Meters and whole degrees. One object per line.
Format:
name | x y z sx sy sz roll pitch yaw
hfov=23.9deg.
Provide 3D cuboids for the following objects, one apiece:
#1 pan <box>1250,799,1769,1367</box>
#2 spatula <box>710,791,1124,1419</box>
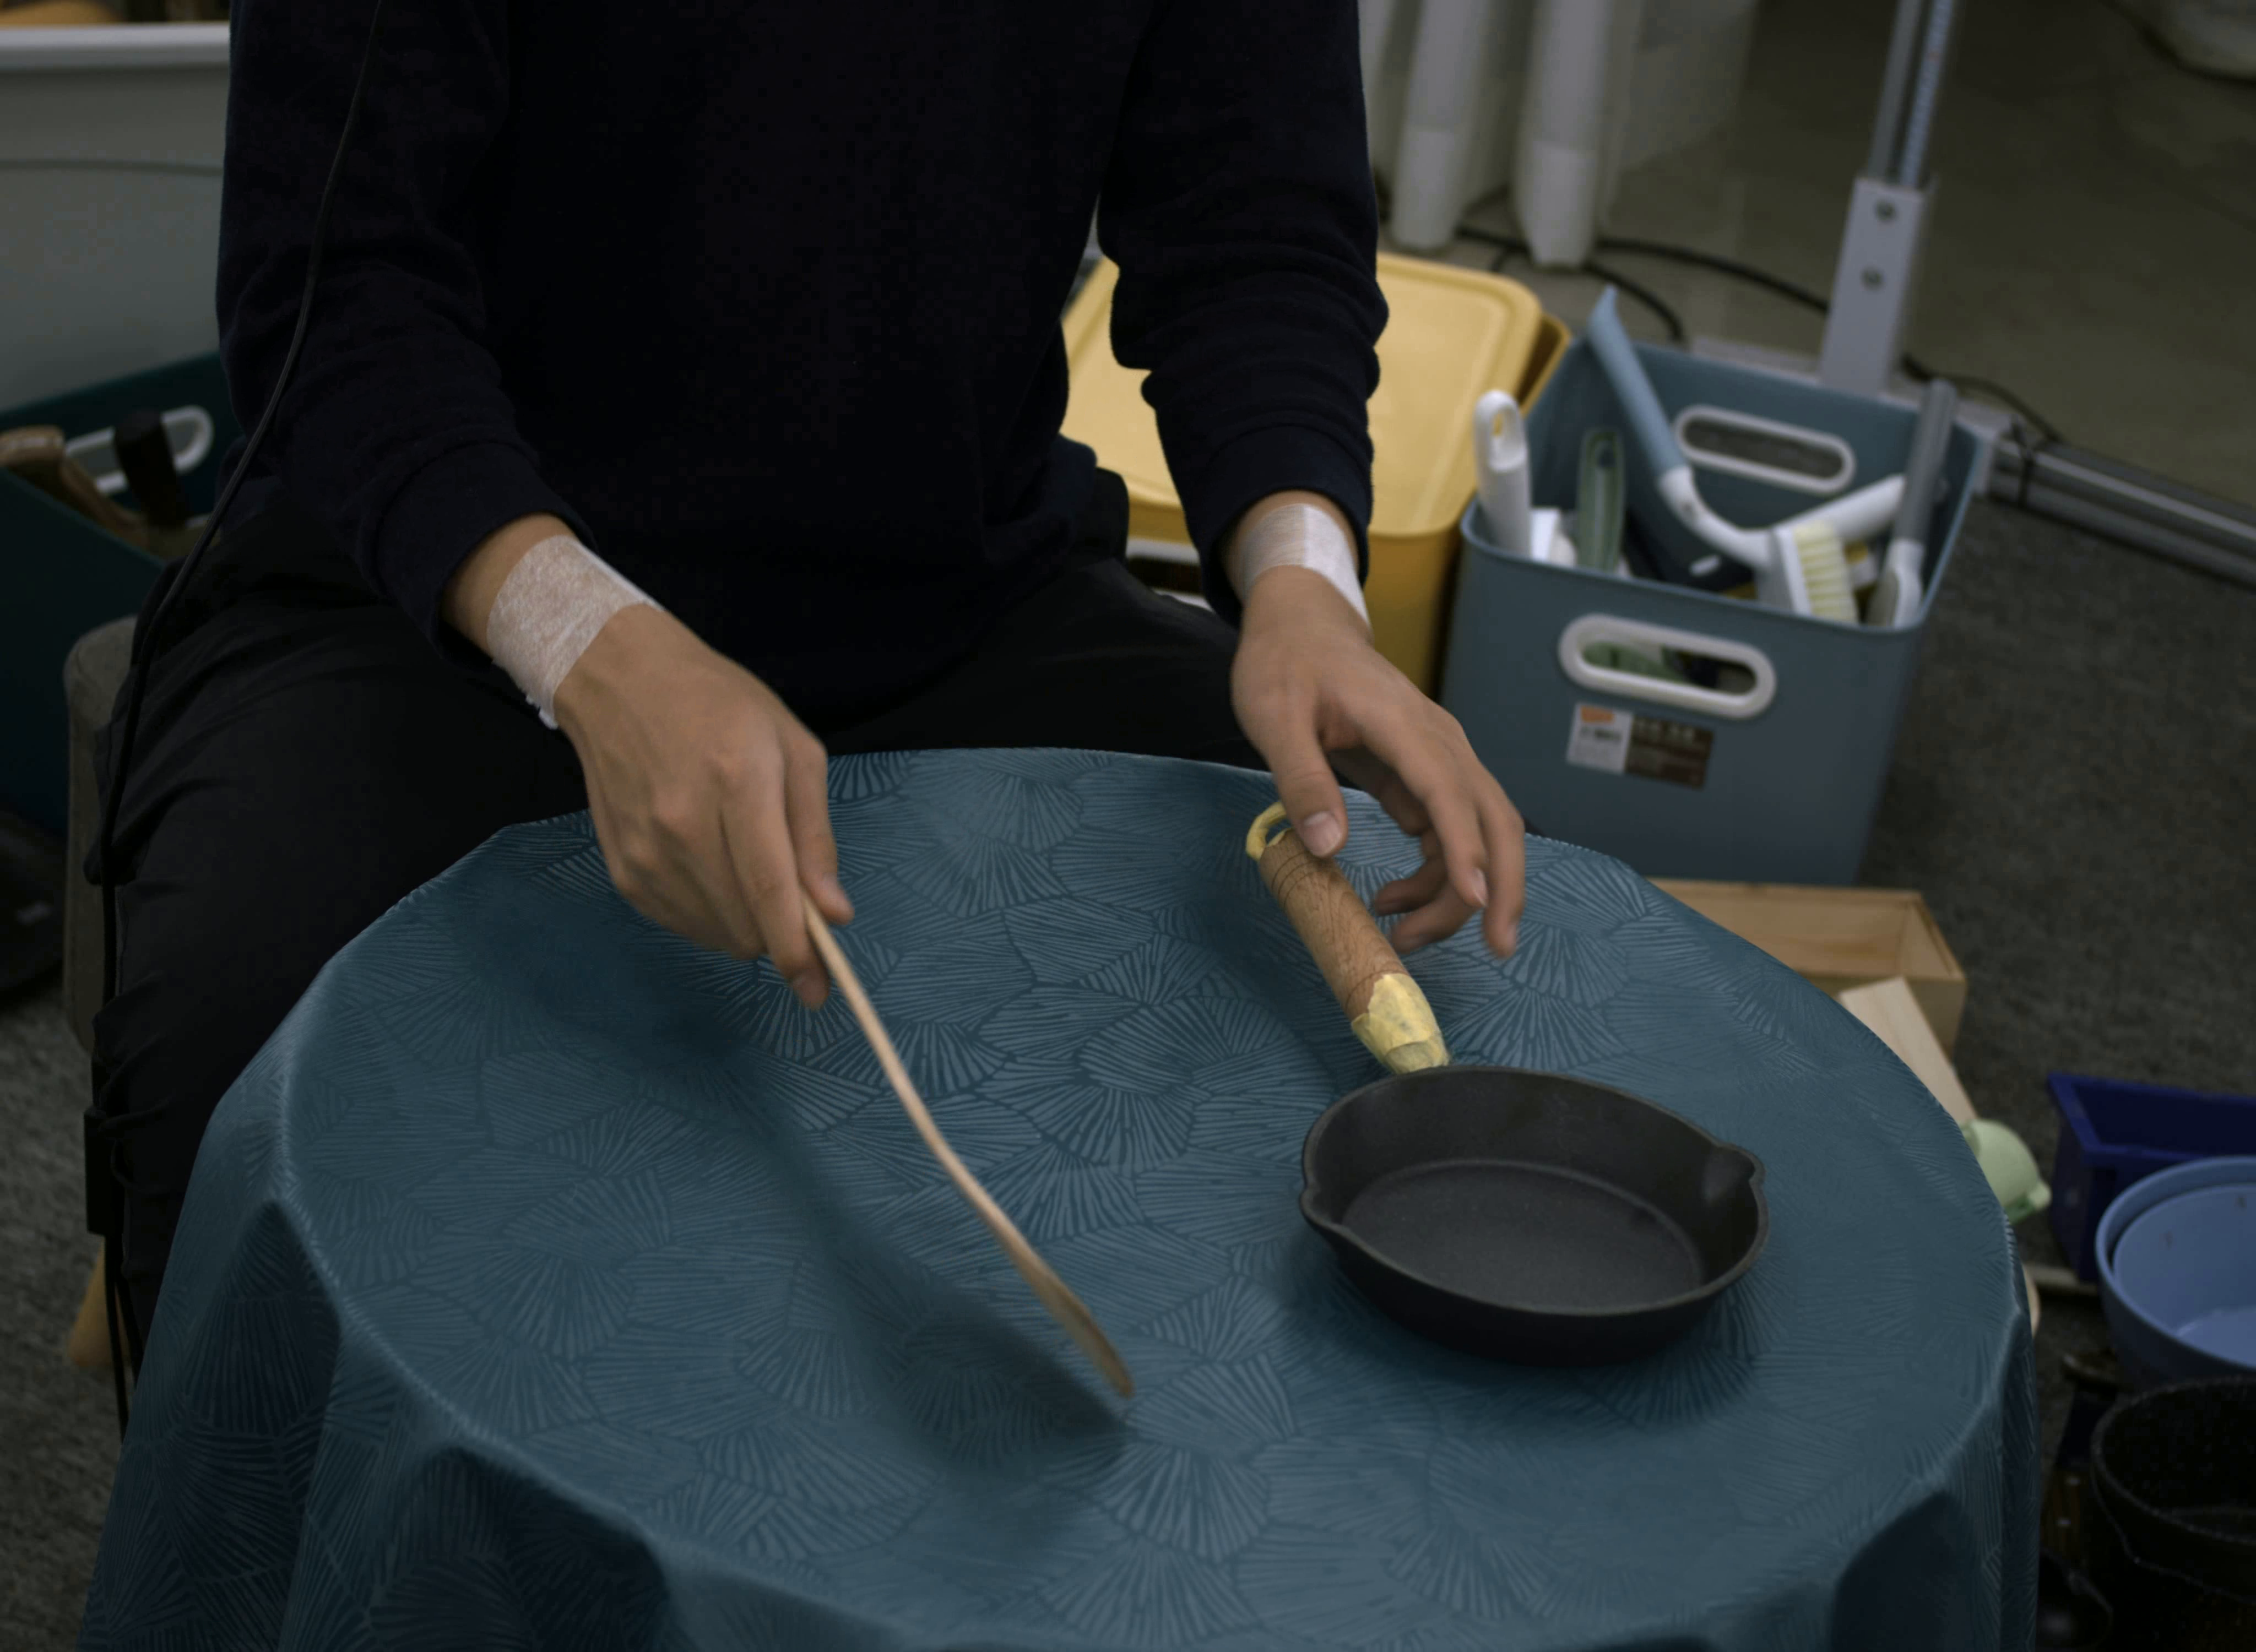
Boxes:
pan | 0.107 0.086 1.844 0.168 0.049 0.327 -4 30 -19
spatula | -0.076 0.082 1.756 0.016 0.079 0.331 -30 42 -4
